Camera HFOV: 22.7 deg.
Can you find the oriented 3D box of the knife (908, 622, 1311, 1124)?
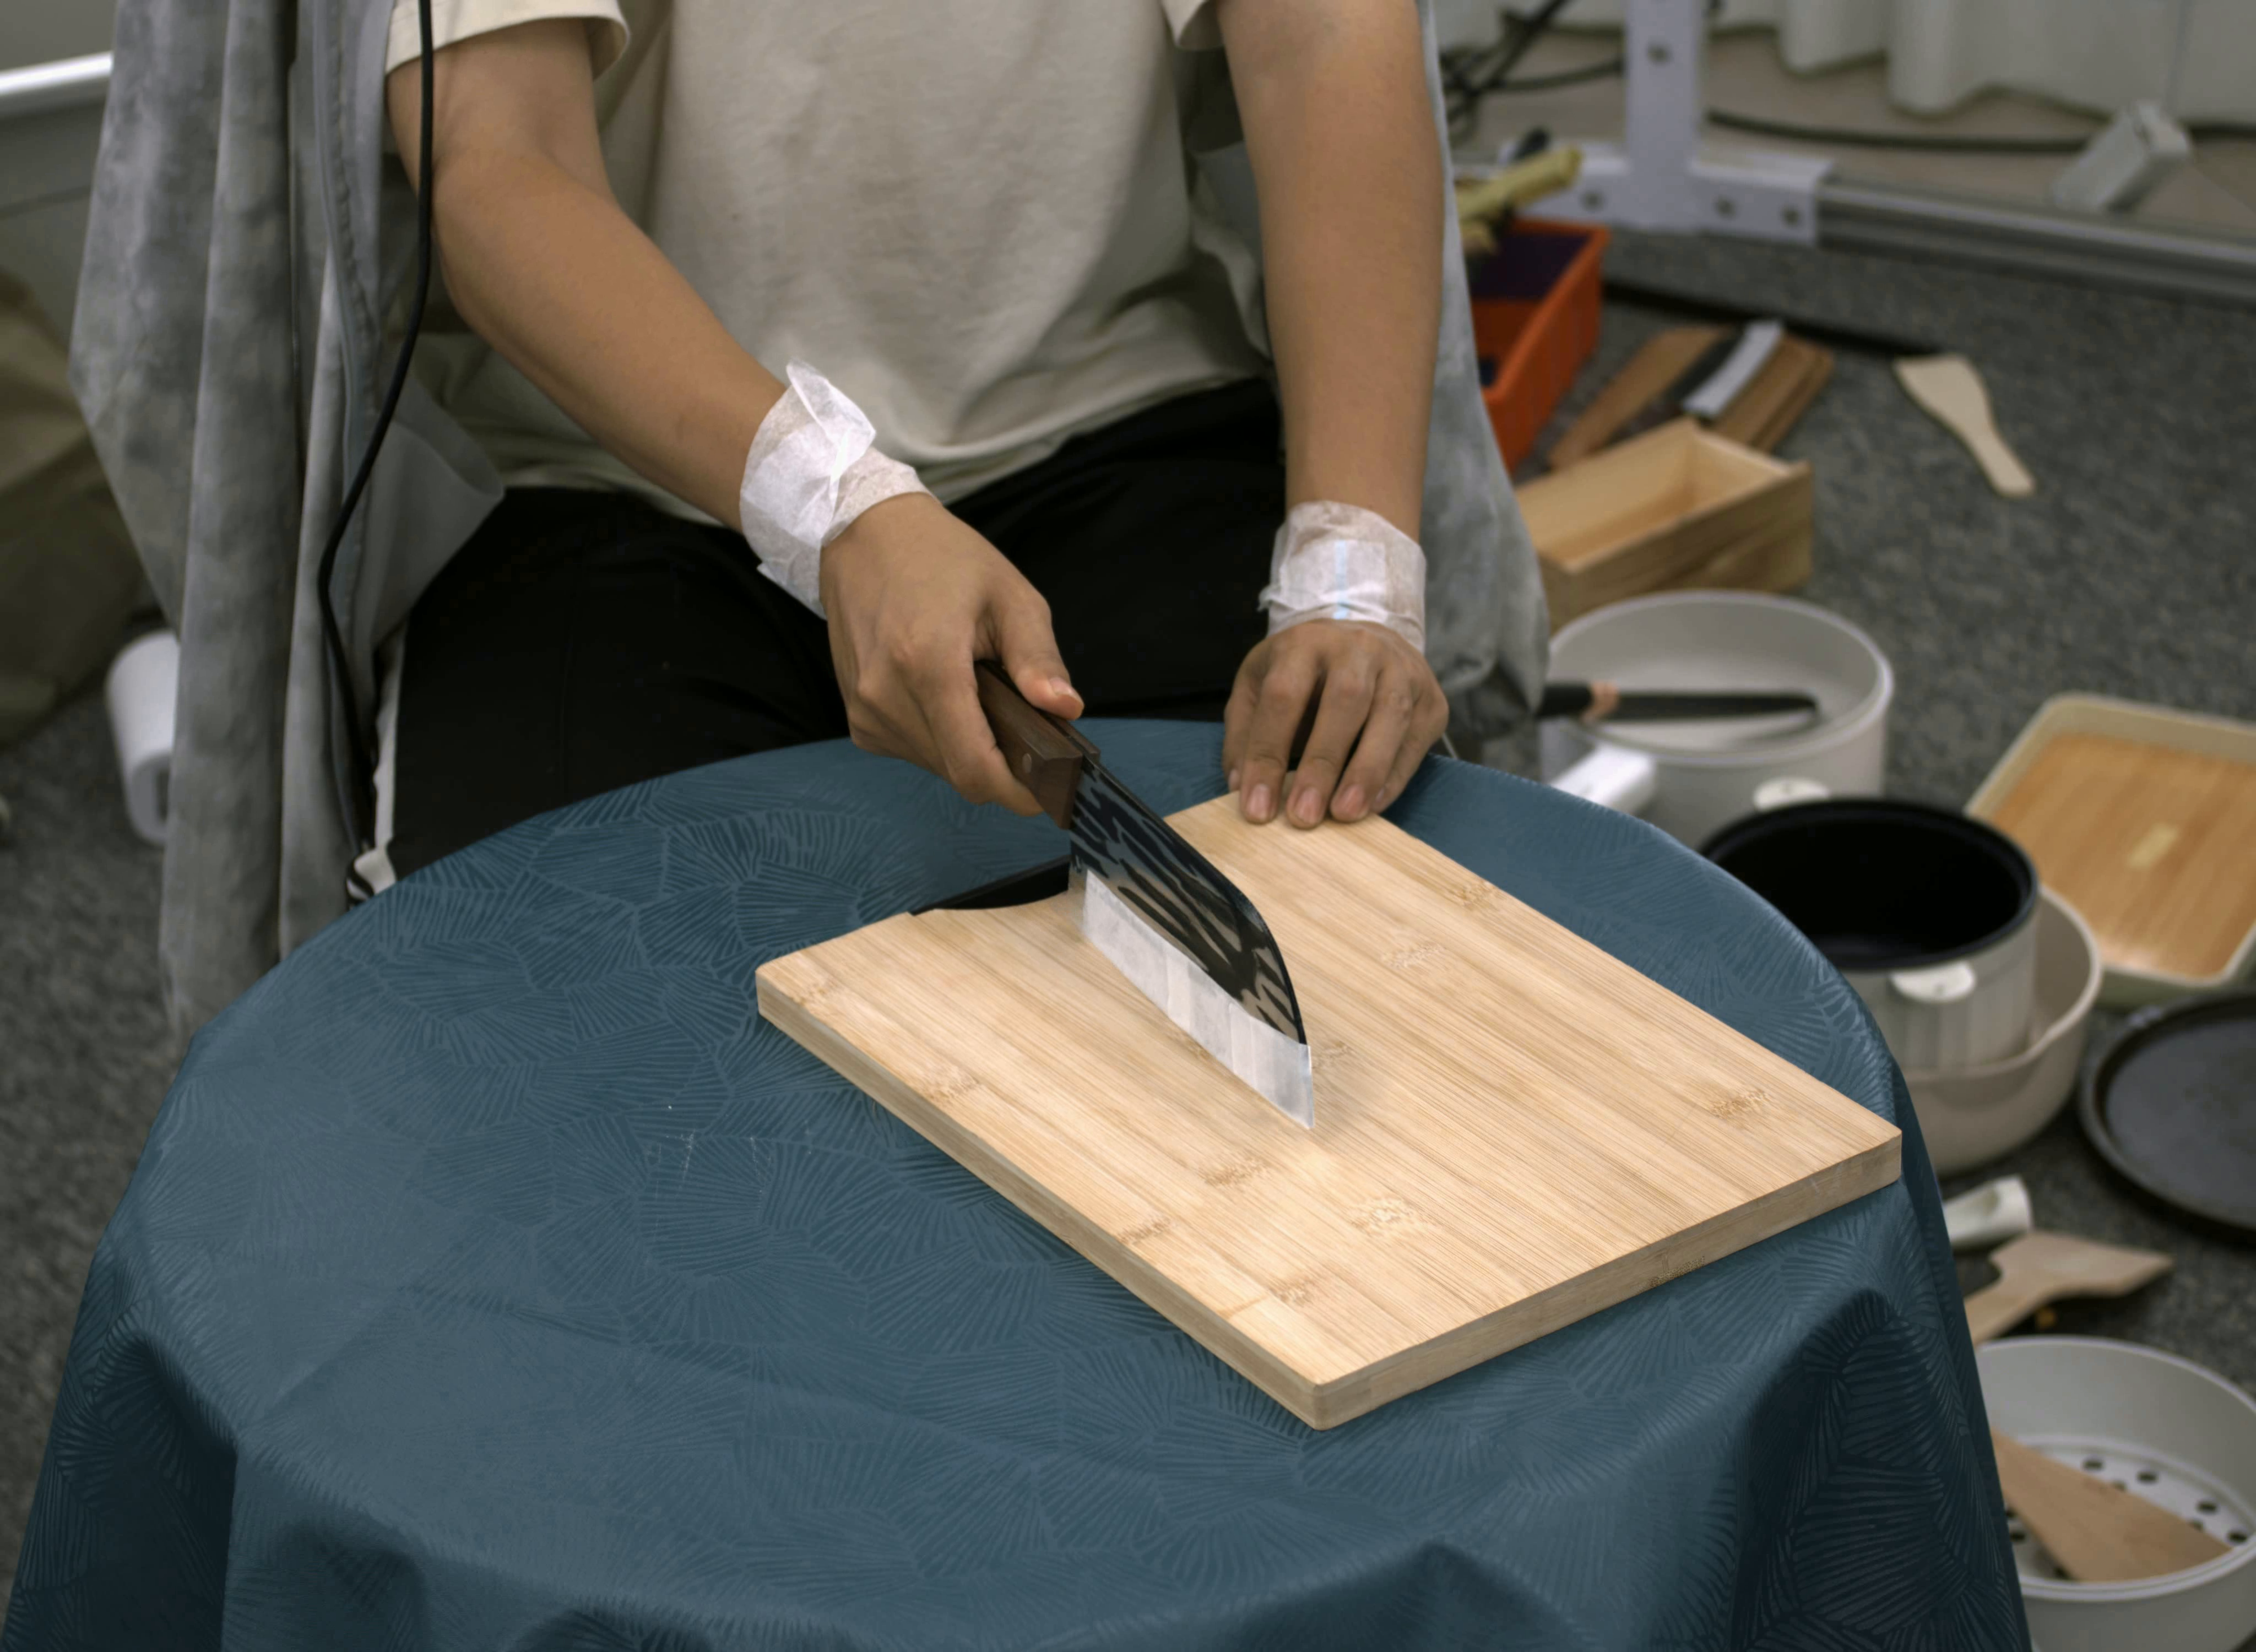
[{"bbox_3d":[-0.007,0.013,1.954,0.024,0.067,0.301,-8,29,-27],"label":"knife"}]

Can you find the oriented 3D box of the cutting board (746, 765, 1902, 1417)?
[{"bbox_3d":[0.059,0.082,1.914,0.253,0.023,0.349,-20,31,-30],"label":"cutting board"}]
